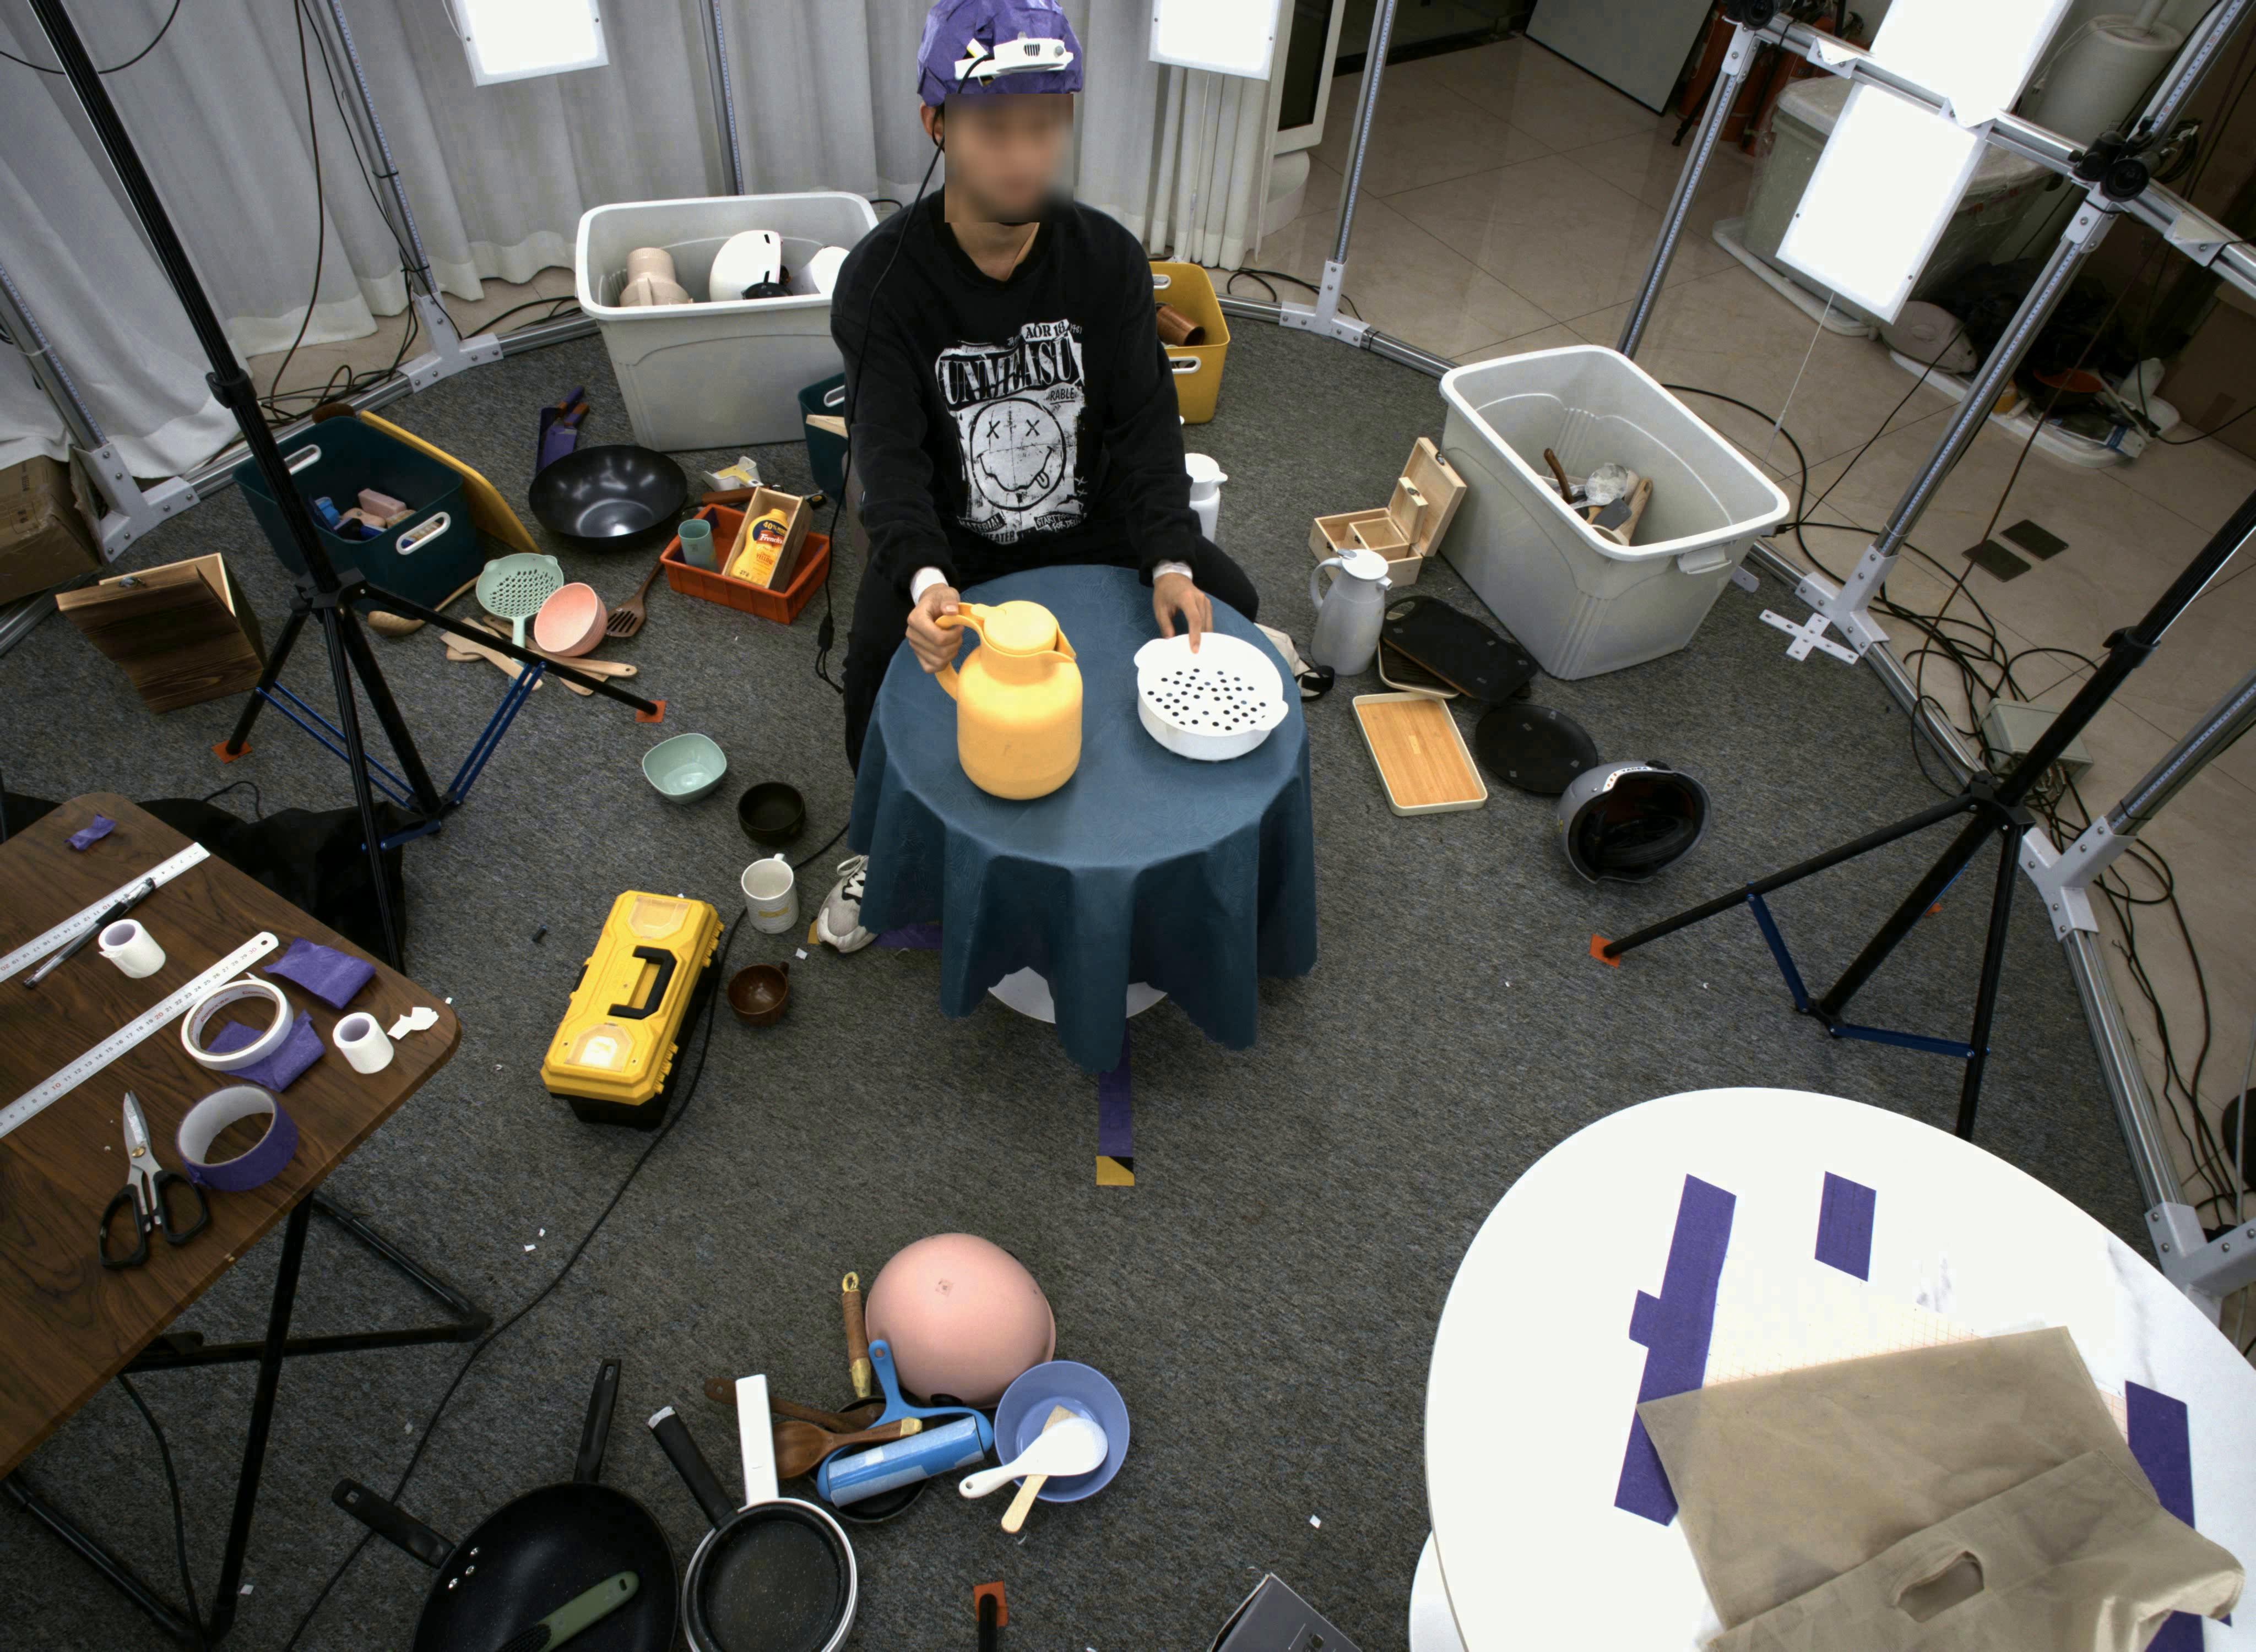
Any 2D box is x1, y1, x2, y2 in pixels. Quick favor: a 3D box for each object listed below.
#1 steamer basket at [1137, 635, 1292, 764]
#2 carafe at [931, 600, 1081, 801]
[{"bbox_3d":[0.116,-0.175,1.788,0.233,0.067,0.204,30,55,20],"label":"steamer basket"},{"bbox_3d":[-0.157,-0.173,1.641,0.204,0.254,0.166,25,50,15],"label":"carafe"}]
